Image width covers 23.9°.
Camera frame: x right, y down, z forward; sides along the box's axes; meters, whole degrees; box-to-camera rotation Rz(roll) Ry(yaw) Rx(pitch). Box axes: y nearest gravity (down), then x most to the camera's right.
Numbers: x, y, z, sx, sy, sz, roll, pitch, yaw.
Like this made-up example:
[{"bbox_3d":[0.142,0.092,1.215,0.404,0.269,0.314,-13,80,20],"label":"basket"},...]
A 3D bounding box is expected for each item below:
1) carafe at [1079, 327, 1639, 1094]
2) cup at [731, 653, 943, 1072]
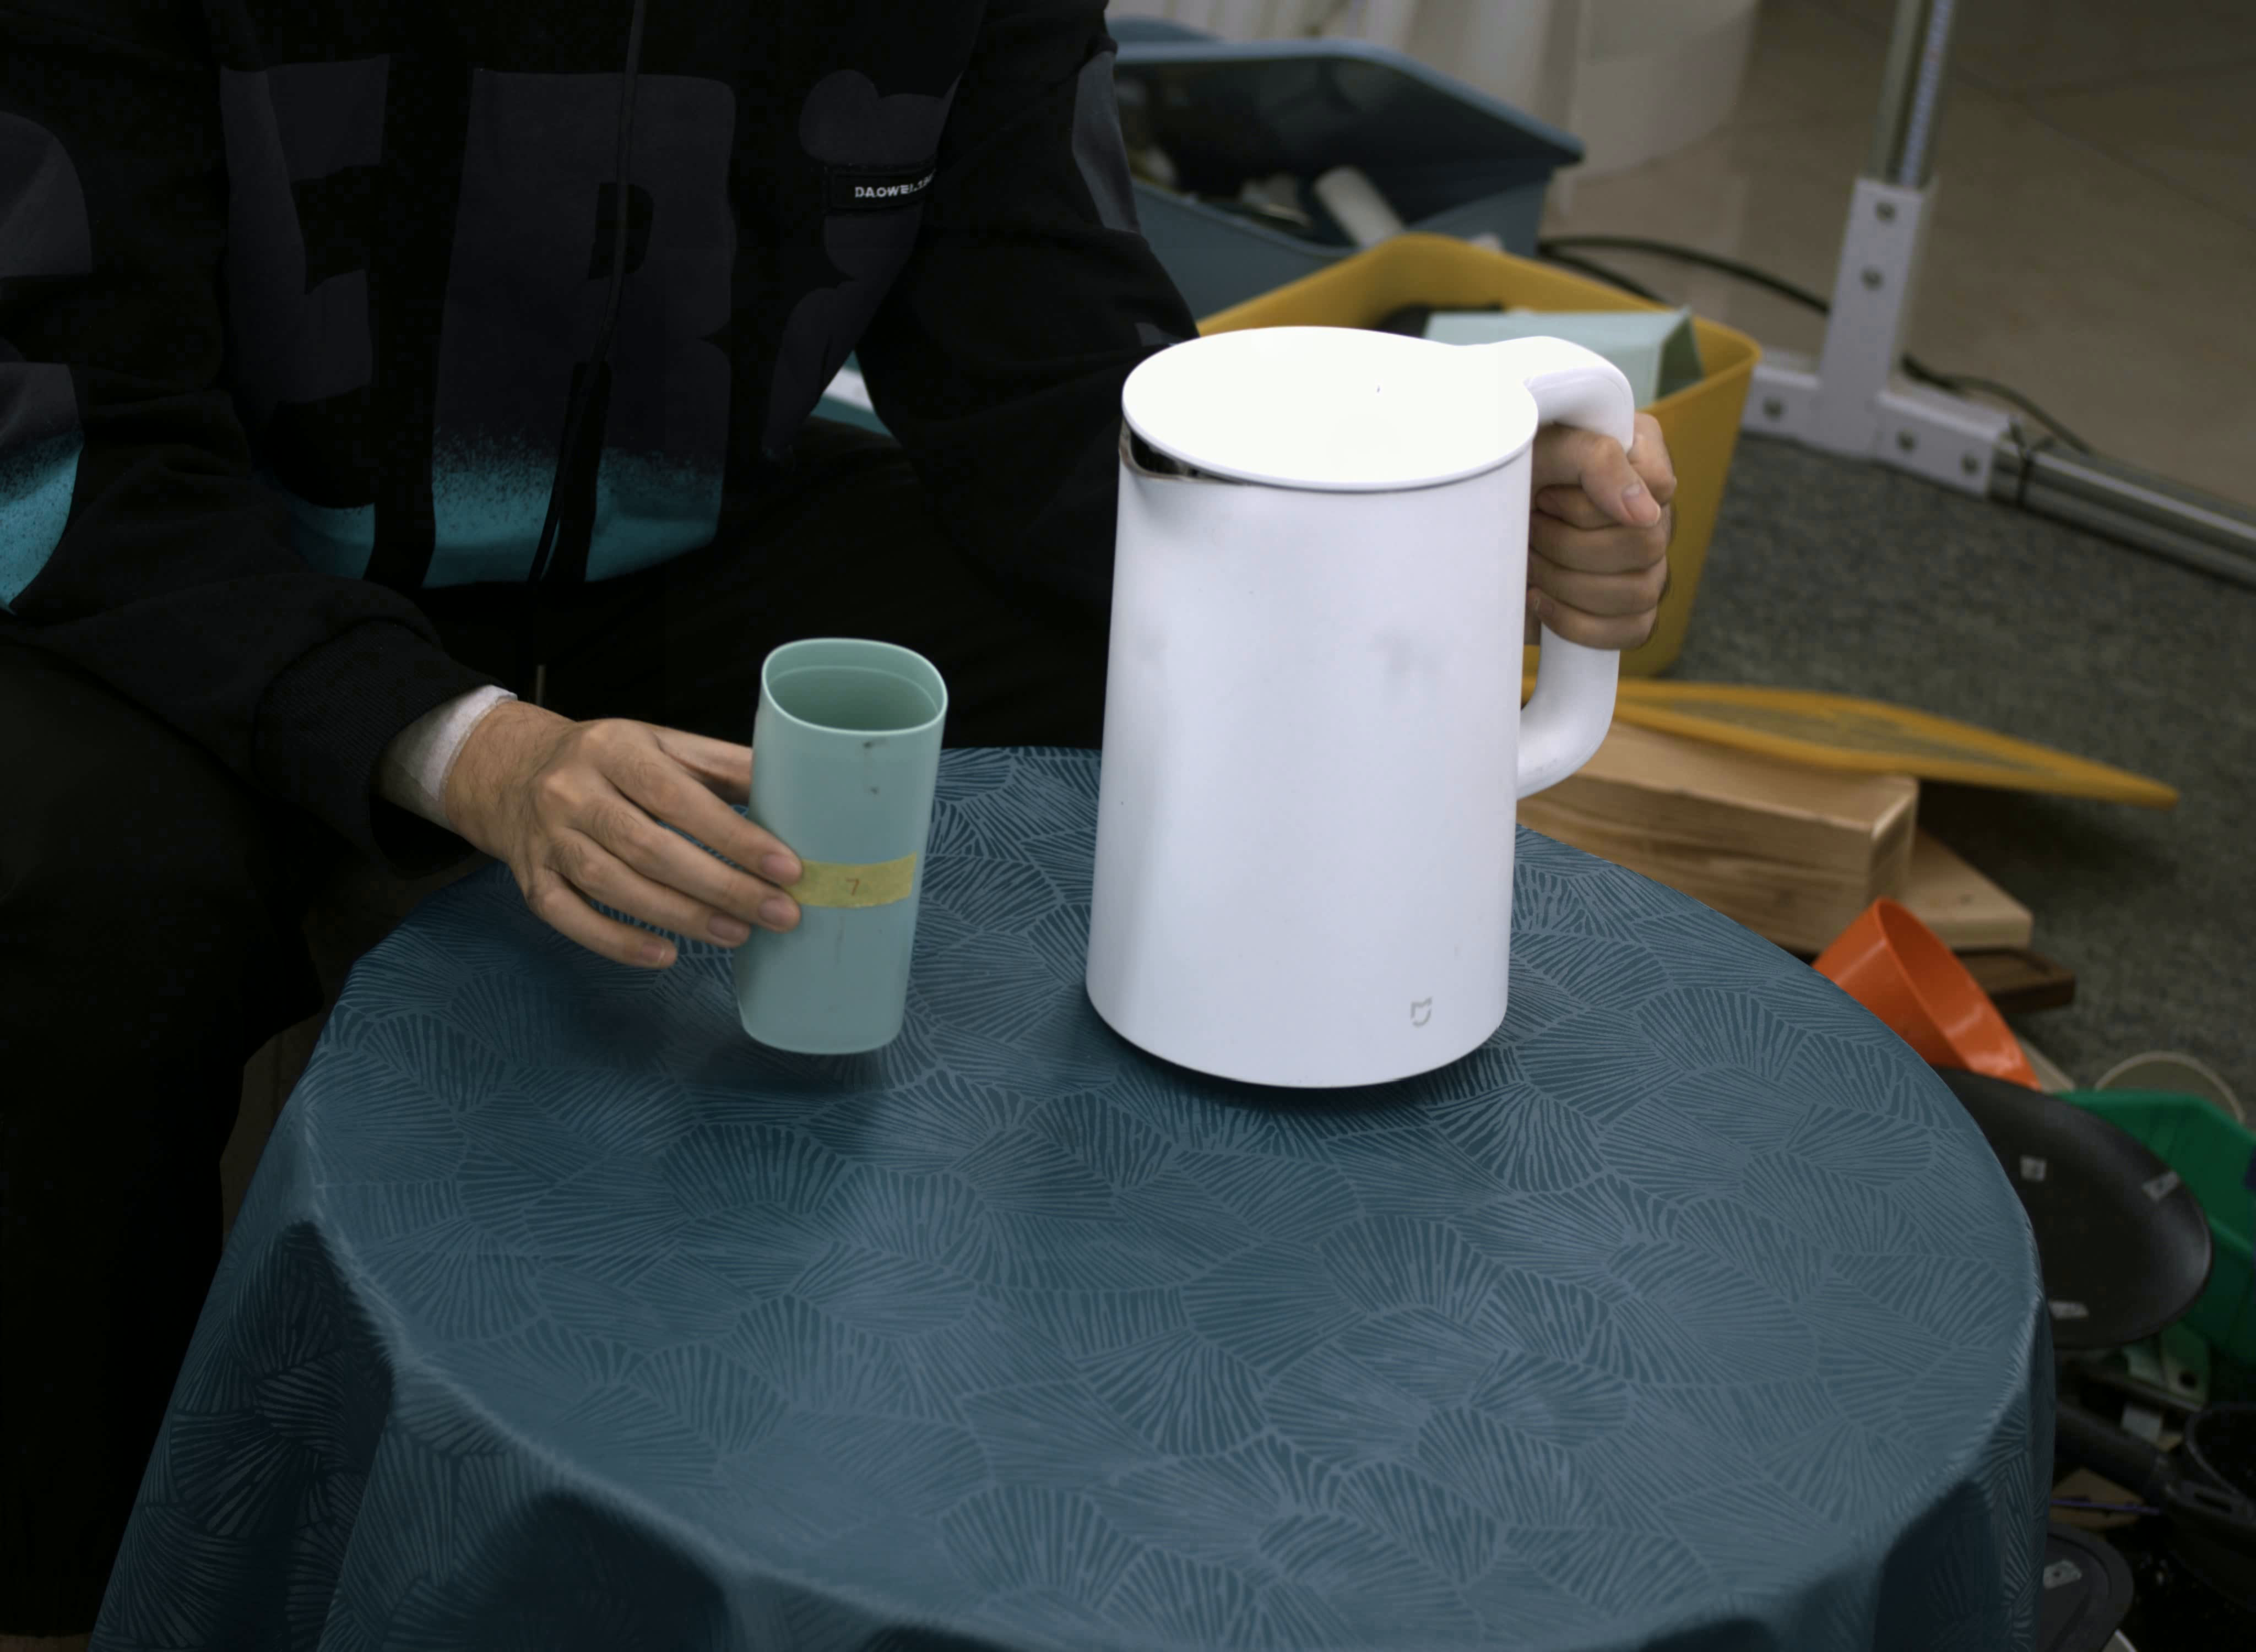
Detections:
[{"bbox_3d":[0.086,-0.047,1.882,0.212,0.239,0.153,-15,31,-32],"label":"carafe"},{"bbox_3d":[-0.100,0.012,1.817,0.066,0.132,0.067,5,31,-4],"label":"cup"}]
